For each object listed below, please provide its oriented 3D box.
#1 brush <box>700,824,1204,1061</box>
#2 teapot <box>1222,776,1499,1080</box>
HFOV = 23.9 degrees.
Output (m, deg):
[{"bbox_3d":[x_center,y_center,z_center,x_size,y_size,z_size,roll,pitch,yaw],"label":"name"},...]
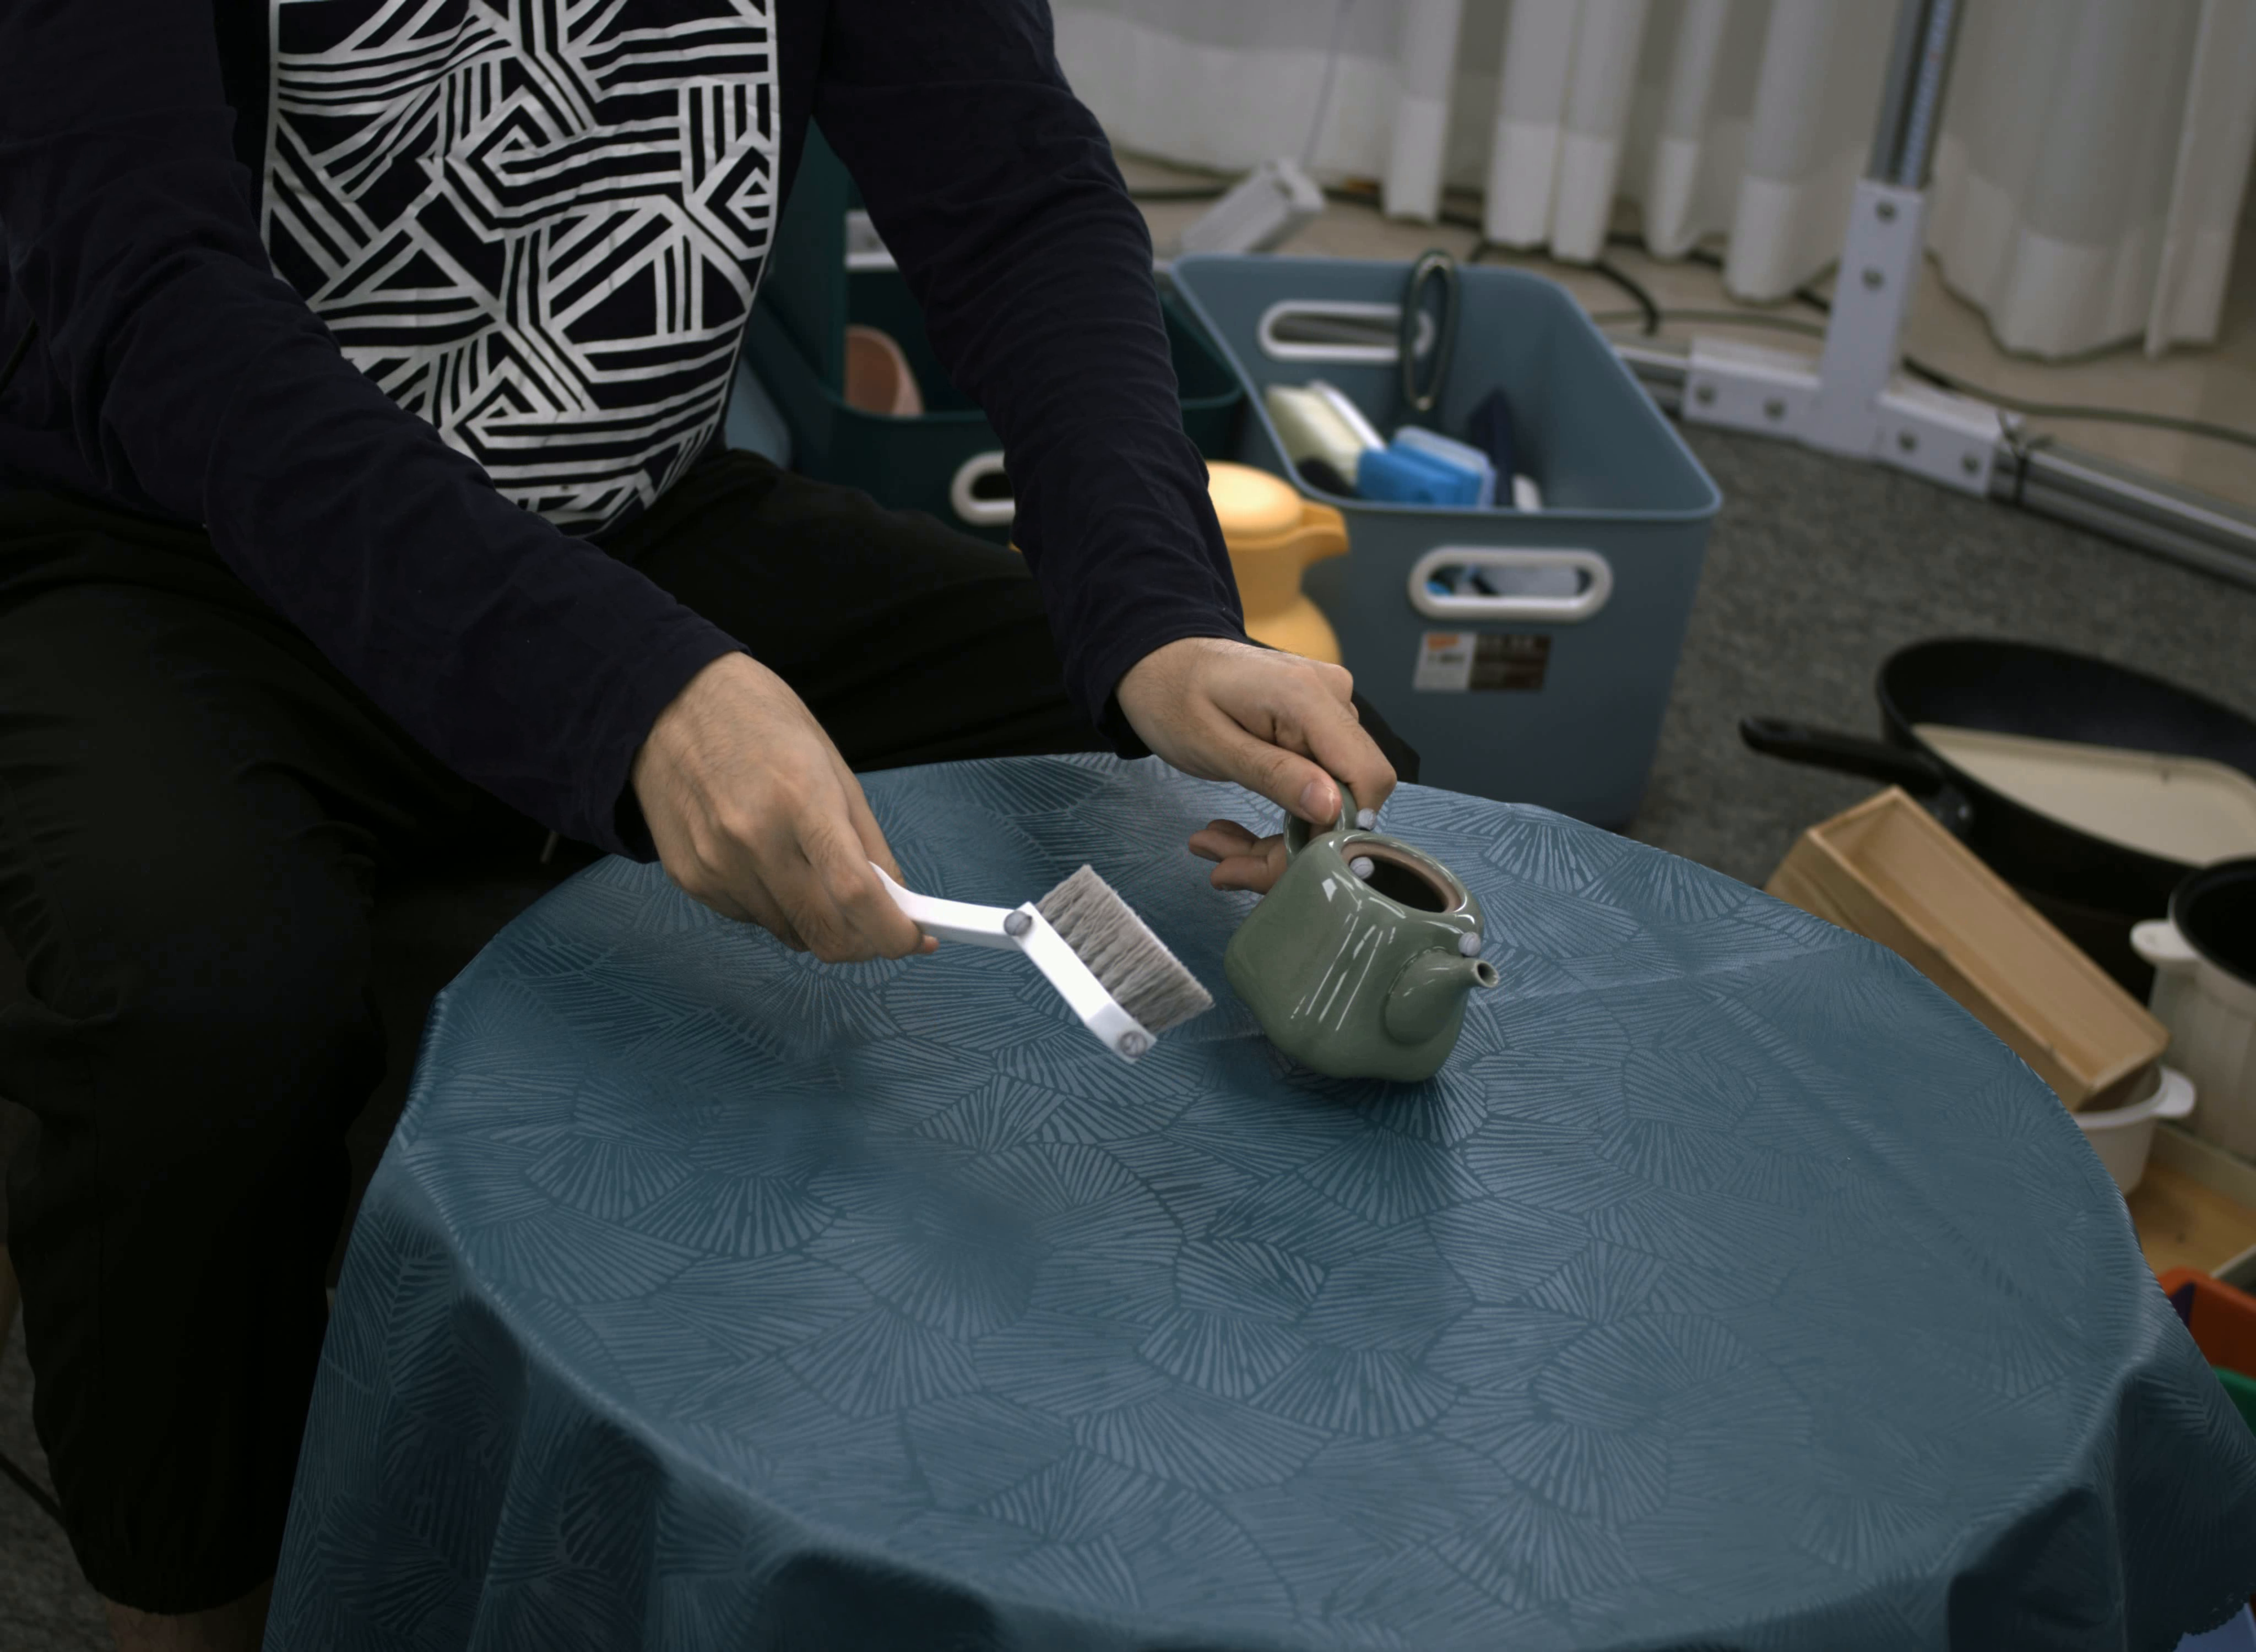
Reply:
[{"bbox_3d":[-0.063,0.021,1.826,0.245,0.050,0.034,24,-7,46],"label":"brush"},{"bbox_3d":[0.083,0.043,1.887,0.079,0.075,0.134,7,30,-36],"label":"teapot"}]
